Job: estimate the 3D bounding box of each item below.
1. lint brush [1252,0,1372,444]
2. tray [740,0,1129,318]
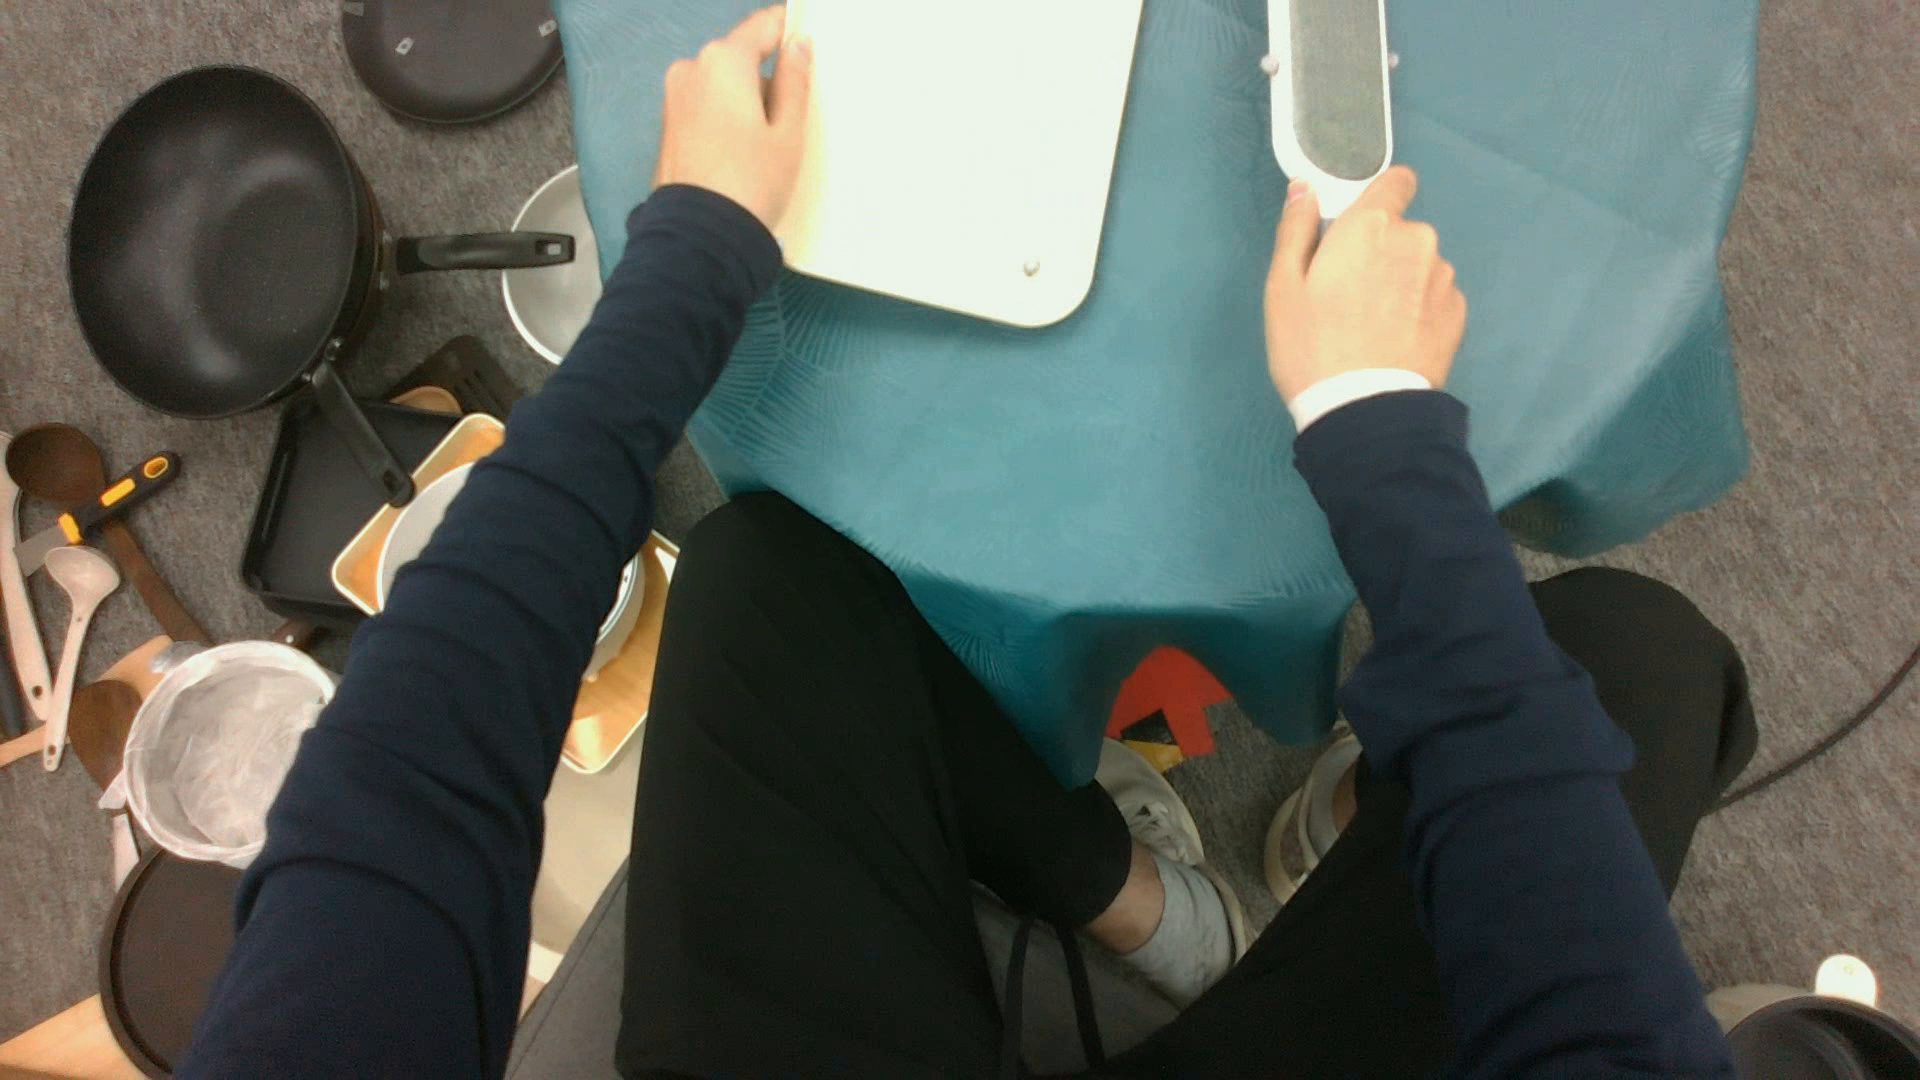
[{"bbox_3d":[0.166,-0.190,0.649,0.060,0.021,0.310,8,71,-19],"label":"lint brush"},{"bbox_3d":[-0.007,-0.234,0.683,0.171,0.017,0.240,12,80,-8],"label":"tray"}]
